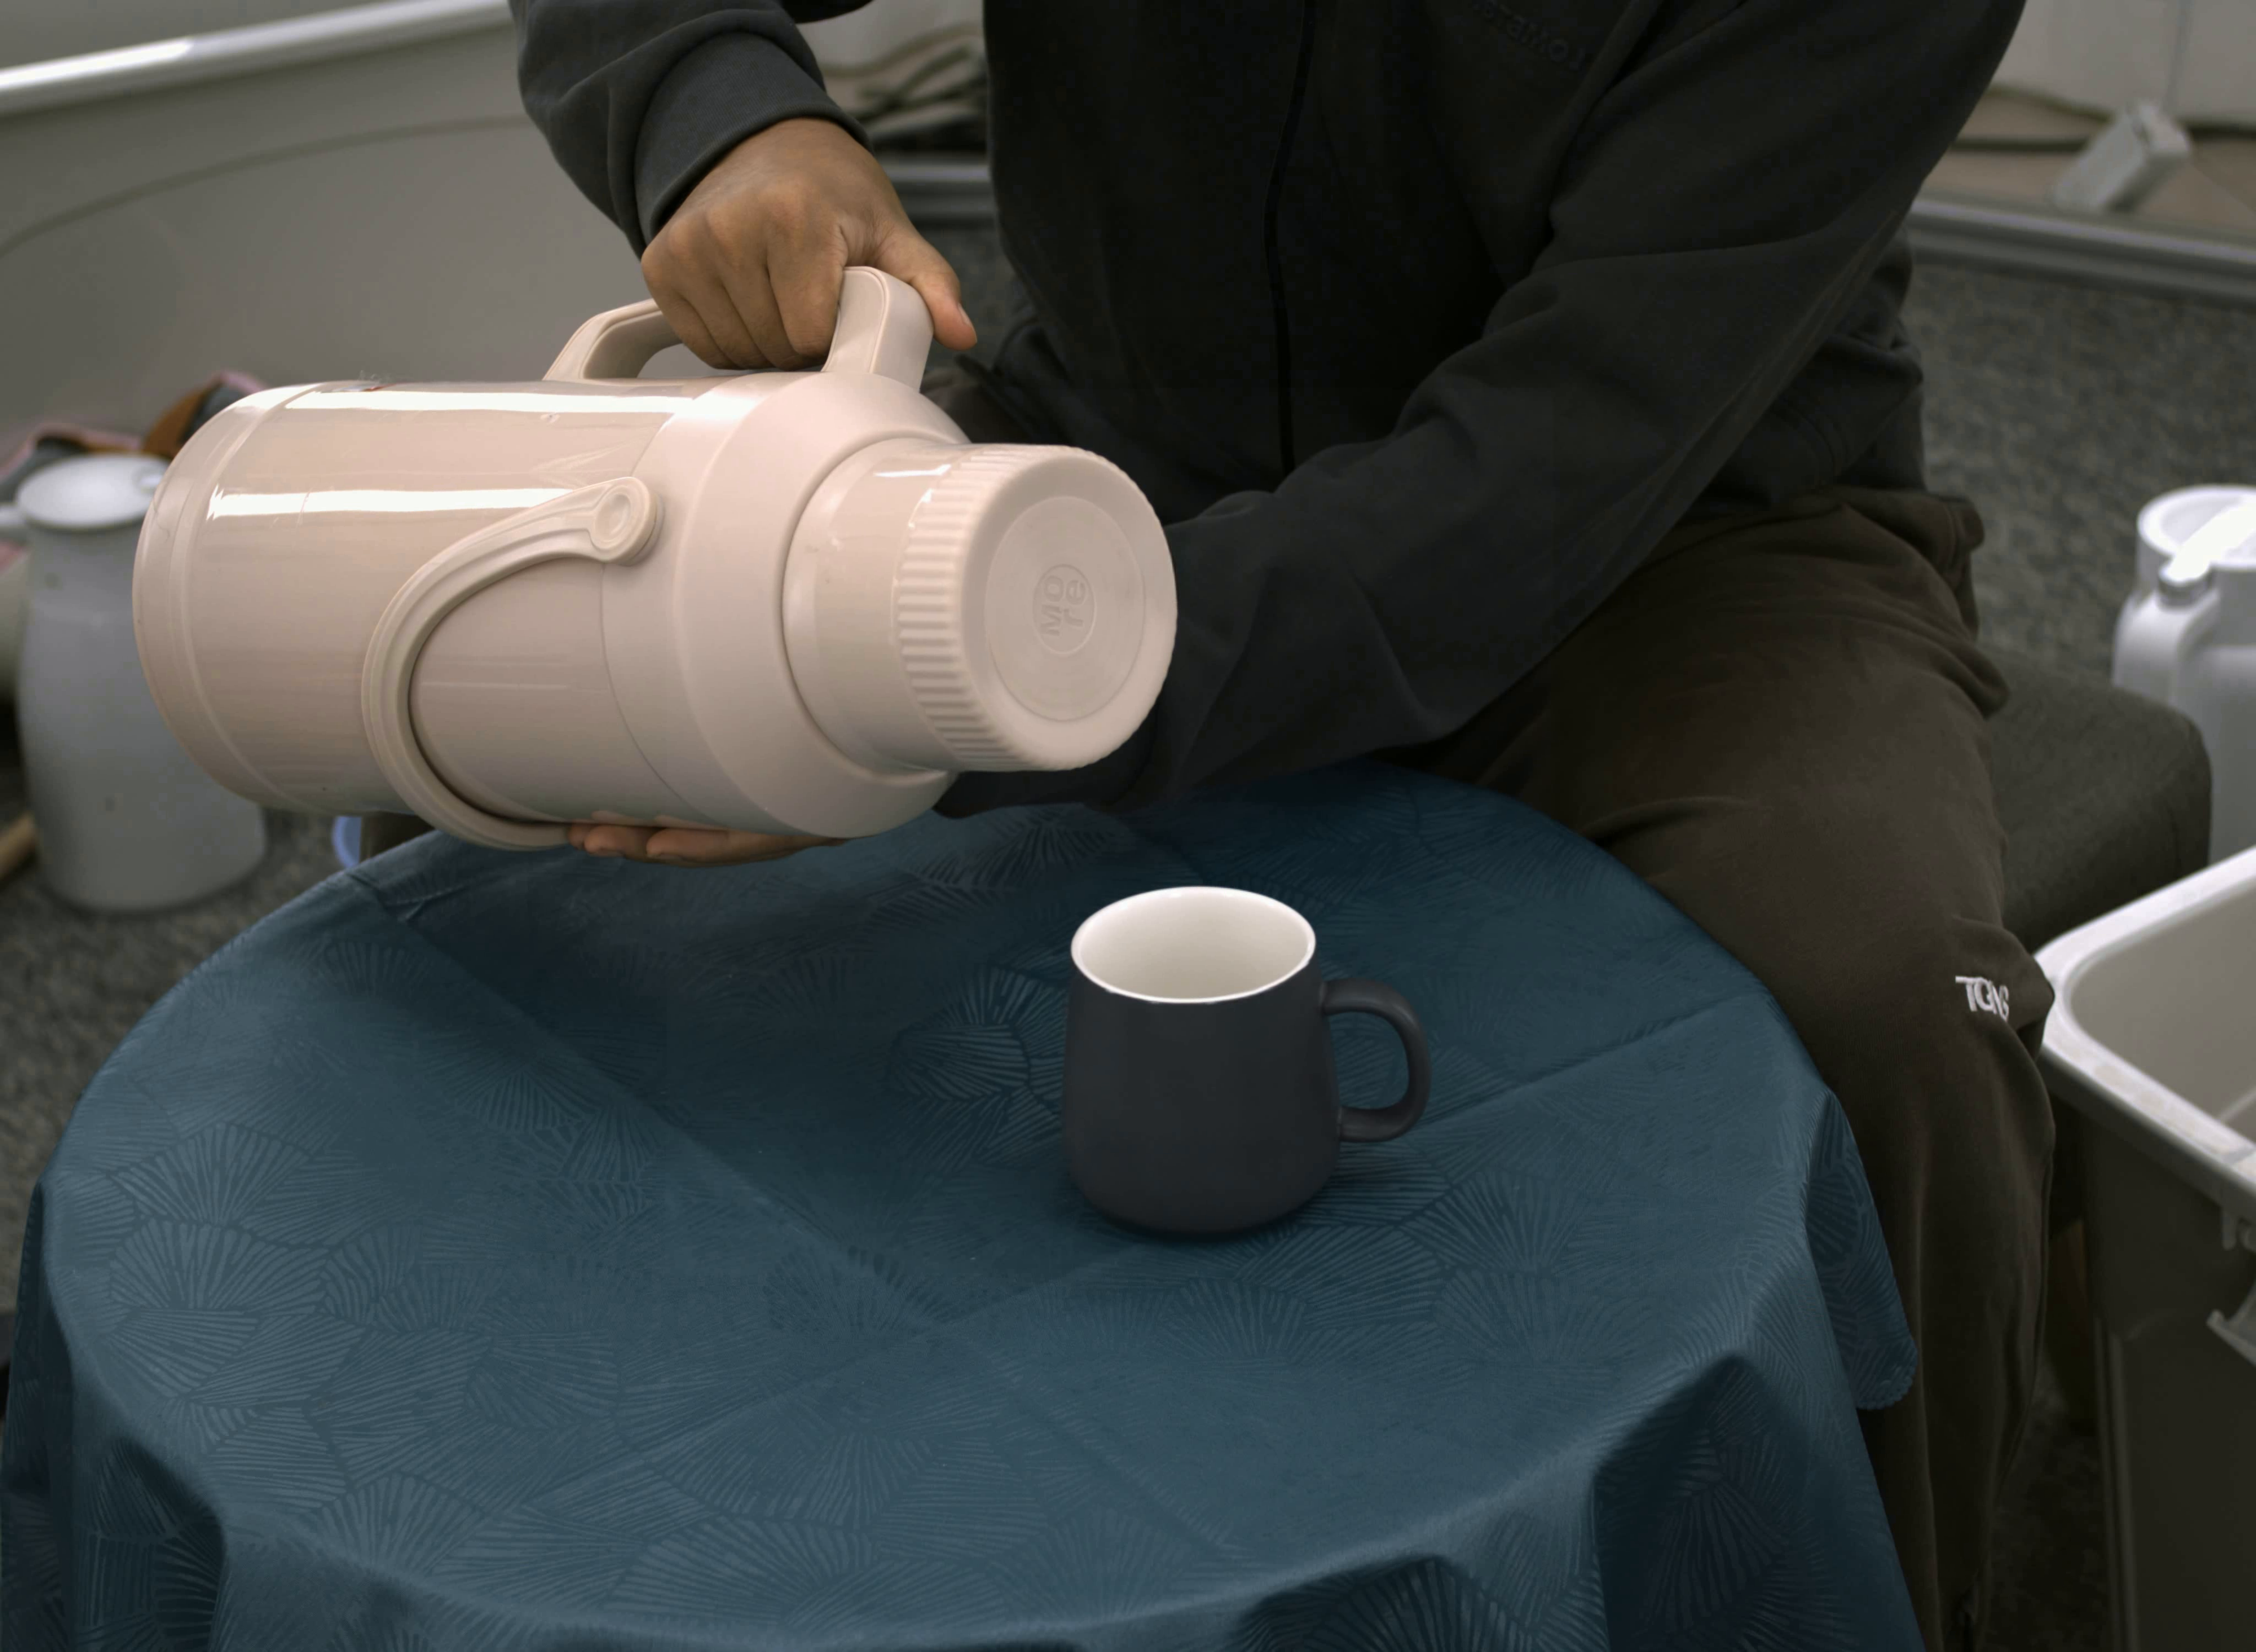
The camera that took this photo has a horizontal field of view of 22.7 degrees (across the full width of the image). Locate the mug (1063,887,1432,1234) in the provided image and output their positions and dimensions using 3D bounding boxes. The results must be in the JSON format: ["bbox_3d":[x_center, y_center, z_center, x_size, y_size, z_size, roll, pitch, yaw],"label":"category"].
[{"bbox_3d":[0.038,0.078,1.848,0.122,0.089,0.095,1,27,8],"label":"mug"}]

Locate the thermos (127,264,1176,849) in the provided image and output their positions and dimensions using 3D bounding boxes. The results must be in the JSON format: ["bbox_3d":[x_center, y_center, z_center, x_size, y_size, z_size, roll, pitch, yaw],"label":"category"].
[{"bbox_3d":[-0.159,-0.091,1.941,0.403,0.209,0.175,2,-16,44],"label":"thermos"}]
